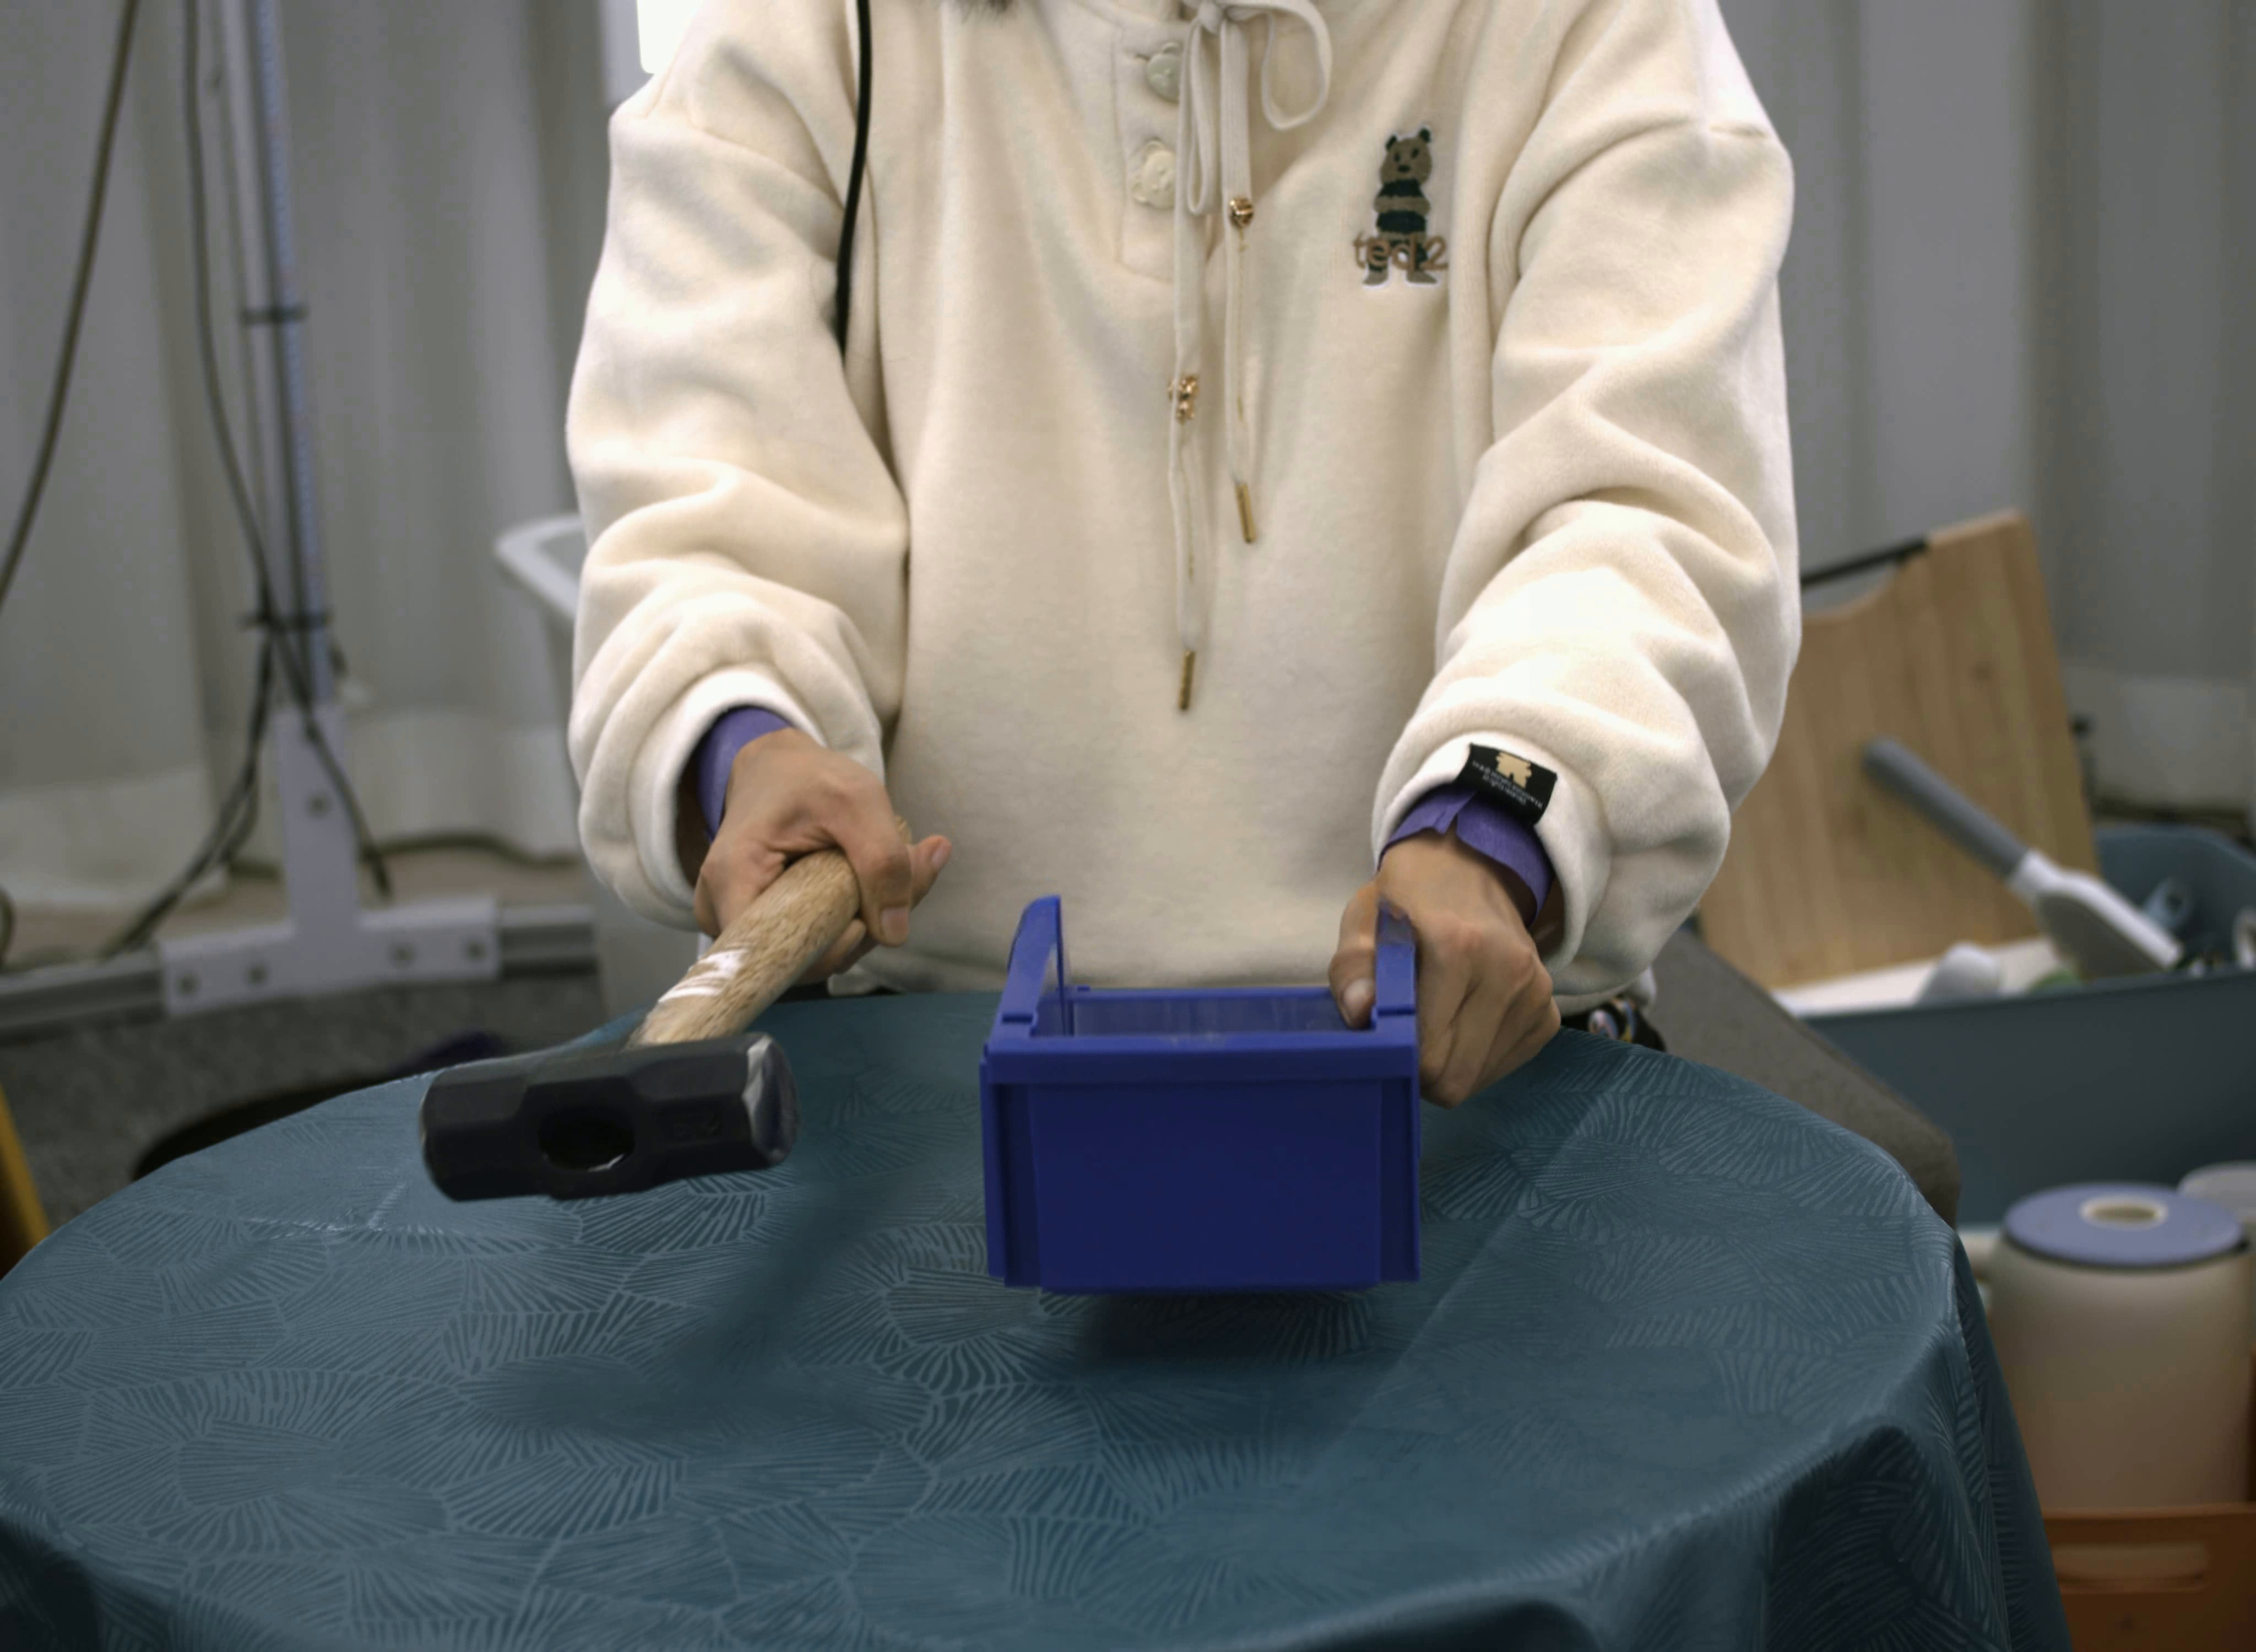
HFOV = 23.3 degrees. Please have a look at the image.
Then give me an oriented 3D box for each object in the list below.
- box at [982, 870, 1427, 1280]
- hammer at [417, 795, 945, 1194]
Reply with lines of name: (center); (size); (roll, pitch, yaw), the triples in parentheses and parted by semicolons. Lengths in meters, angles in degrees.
box: (0.025, 0.070, 1.626); (0.124, 0.081, 0.181); (-1, 18, 4)
hammer: (-0.116, 0.045, 1.697); (0.107, 0.038, 0.306); (-7, 14, 17)
